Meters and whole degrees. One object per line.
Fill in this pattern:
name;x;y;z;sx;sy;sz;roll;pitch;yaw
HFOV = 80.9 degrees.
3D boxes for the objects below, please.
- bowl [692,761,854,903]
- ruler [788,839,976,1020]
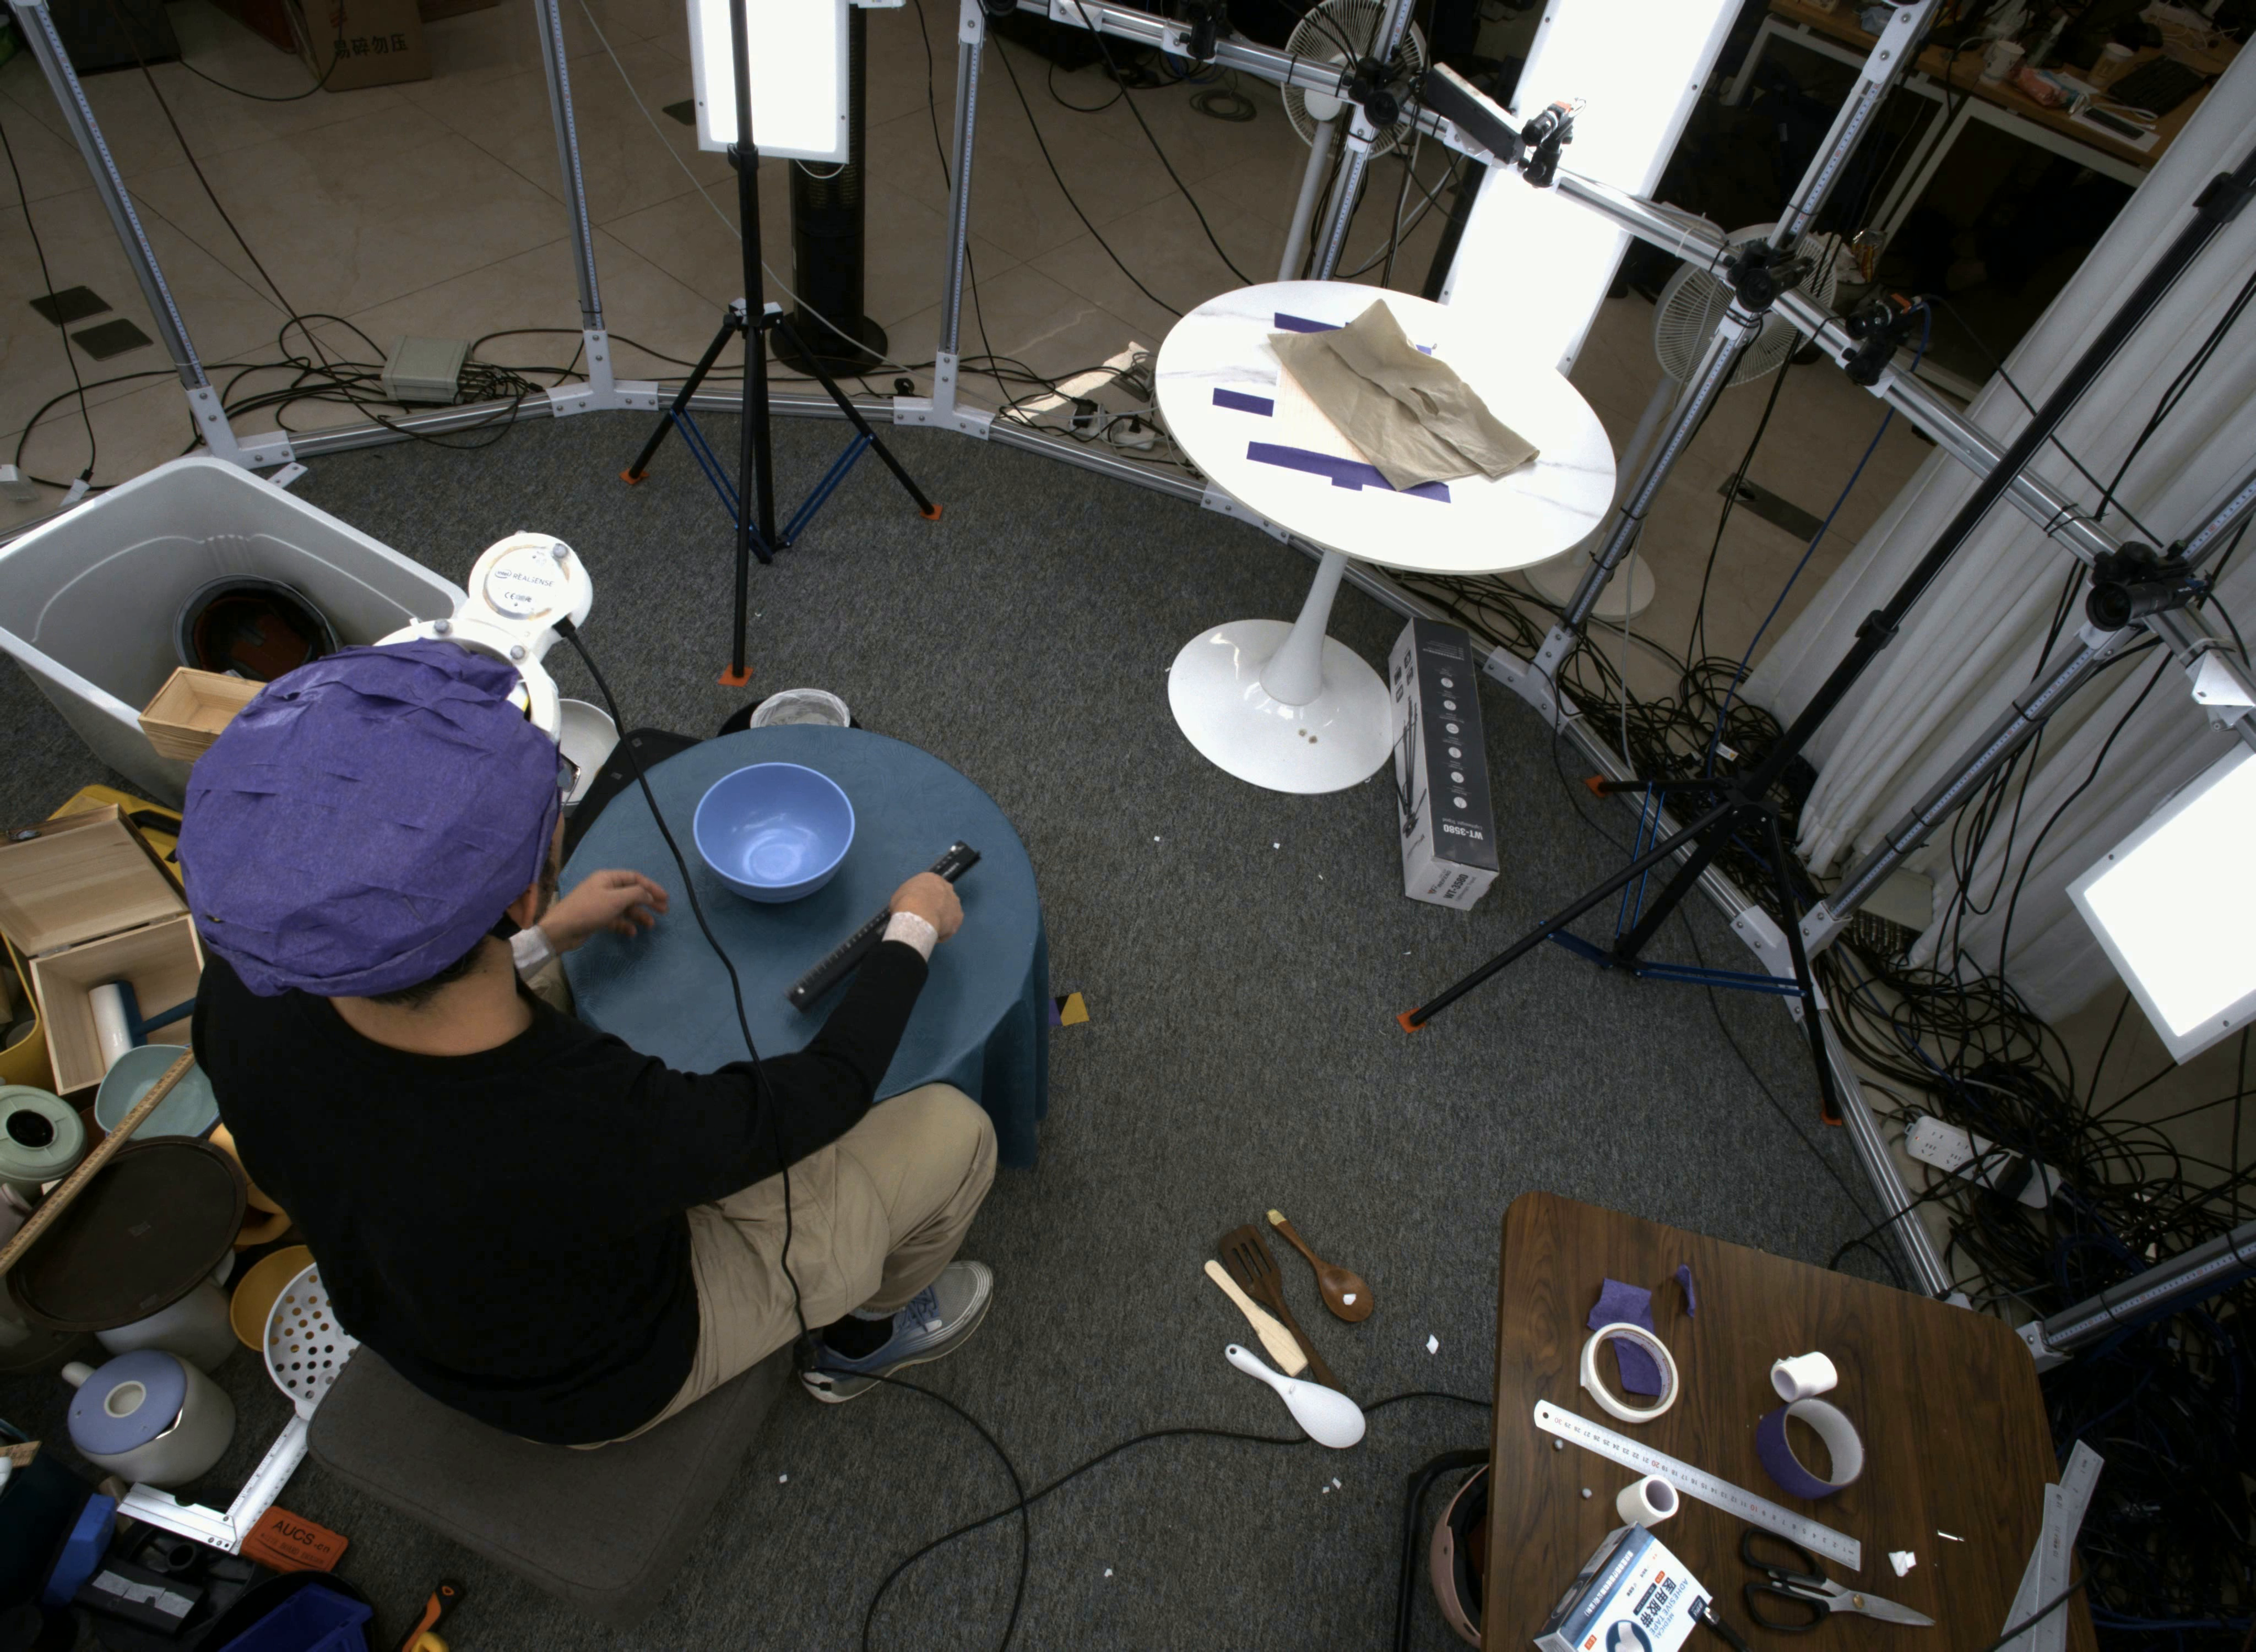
bowl;-0.445;0.022;1.635;0.196;0.097;0.193;8;51;-8
ruler;-0.300;0.117;1.611;0.039;0.017;0.312;38;57;8
